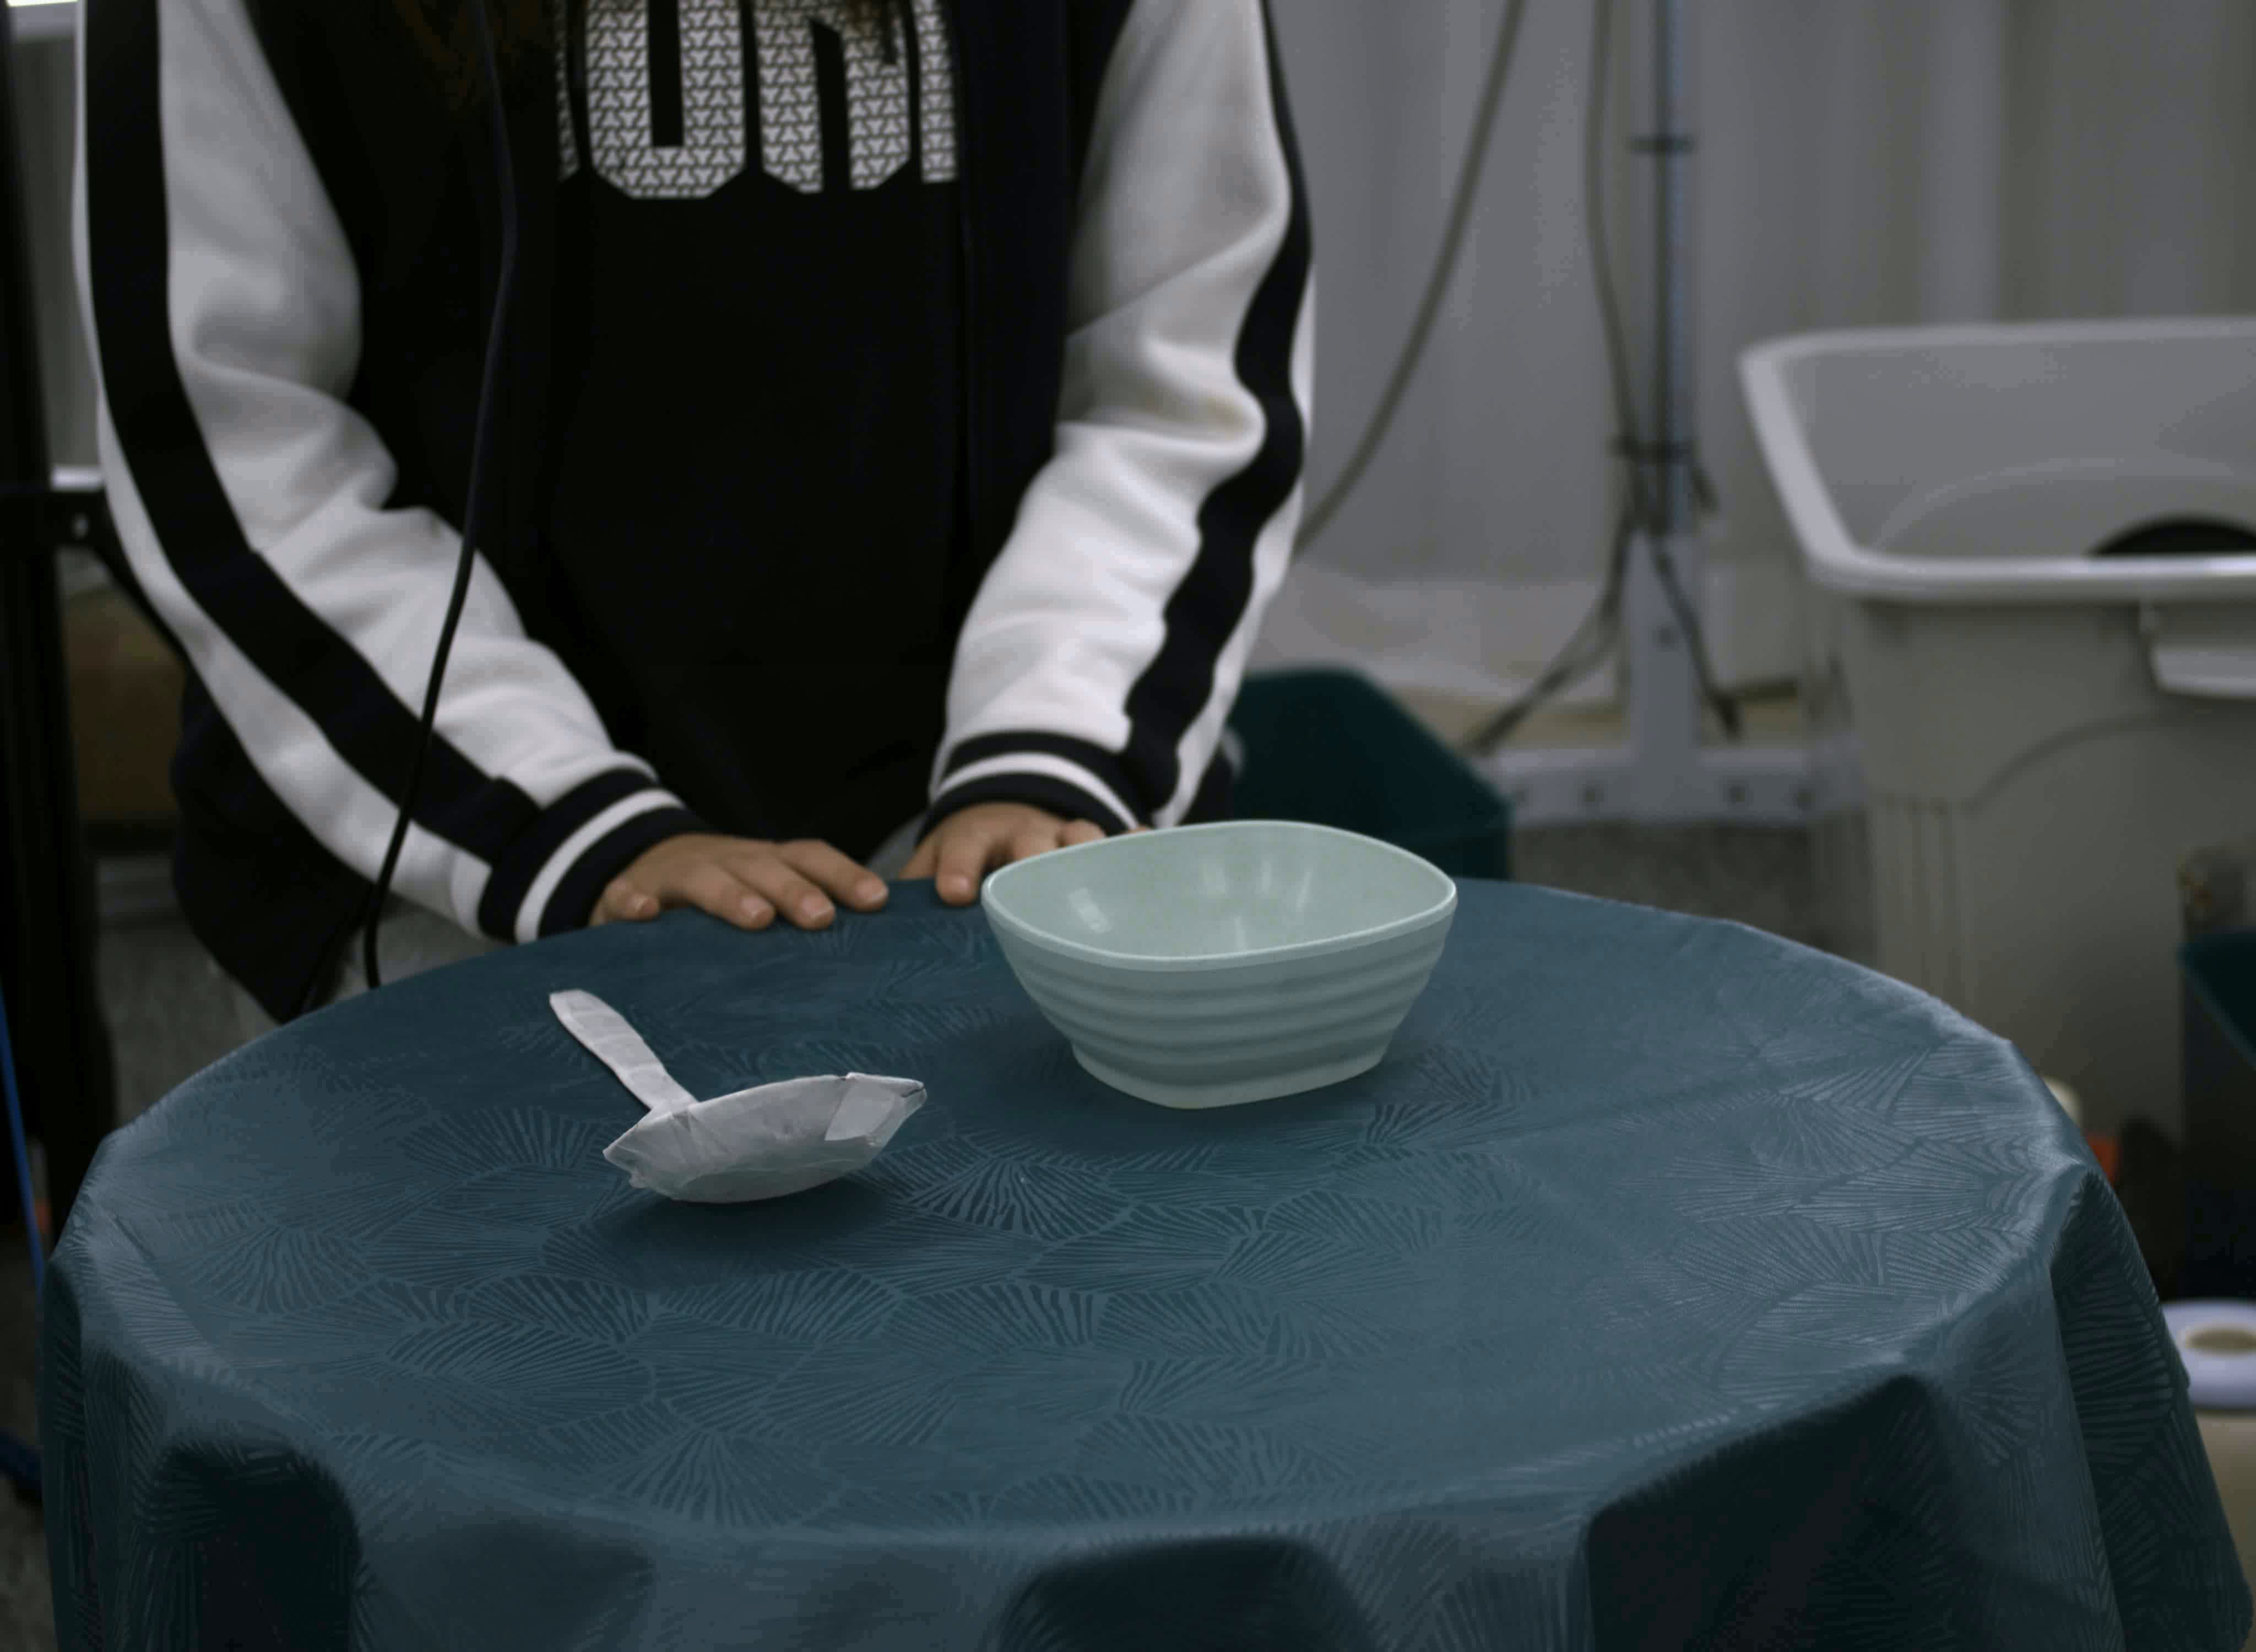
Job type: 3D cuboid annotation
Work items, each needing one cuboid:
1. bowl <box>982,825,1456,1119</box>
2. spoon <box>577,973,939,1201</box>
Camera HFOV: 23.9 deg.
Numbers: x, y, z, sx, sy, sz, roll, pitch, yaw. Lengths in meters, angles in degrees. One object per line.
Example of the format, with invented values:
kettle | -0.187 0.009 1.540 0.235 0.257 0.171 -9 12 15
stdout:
bowl | 0.029 0.049 1.666 0.150 0.058 0.152 -3 16 -1
spoon | -0.130 0.062 1.637 0.099 0.059 0.282 -2 15 -17
